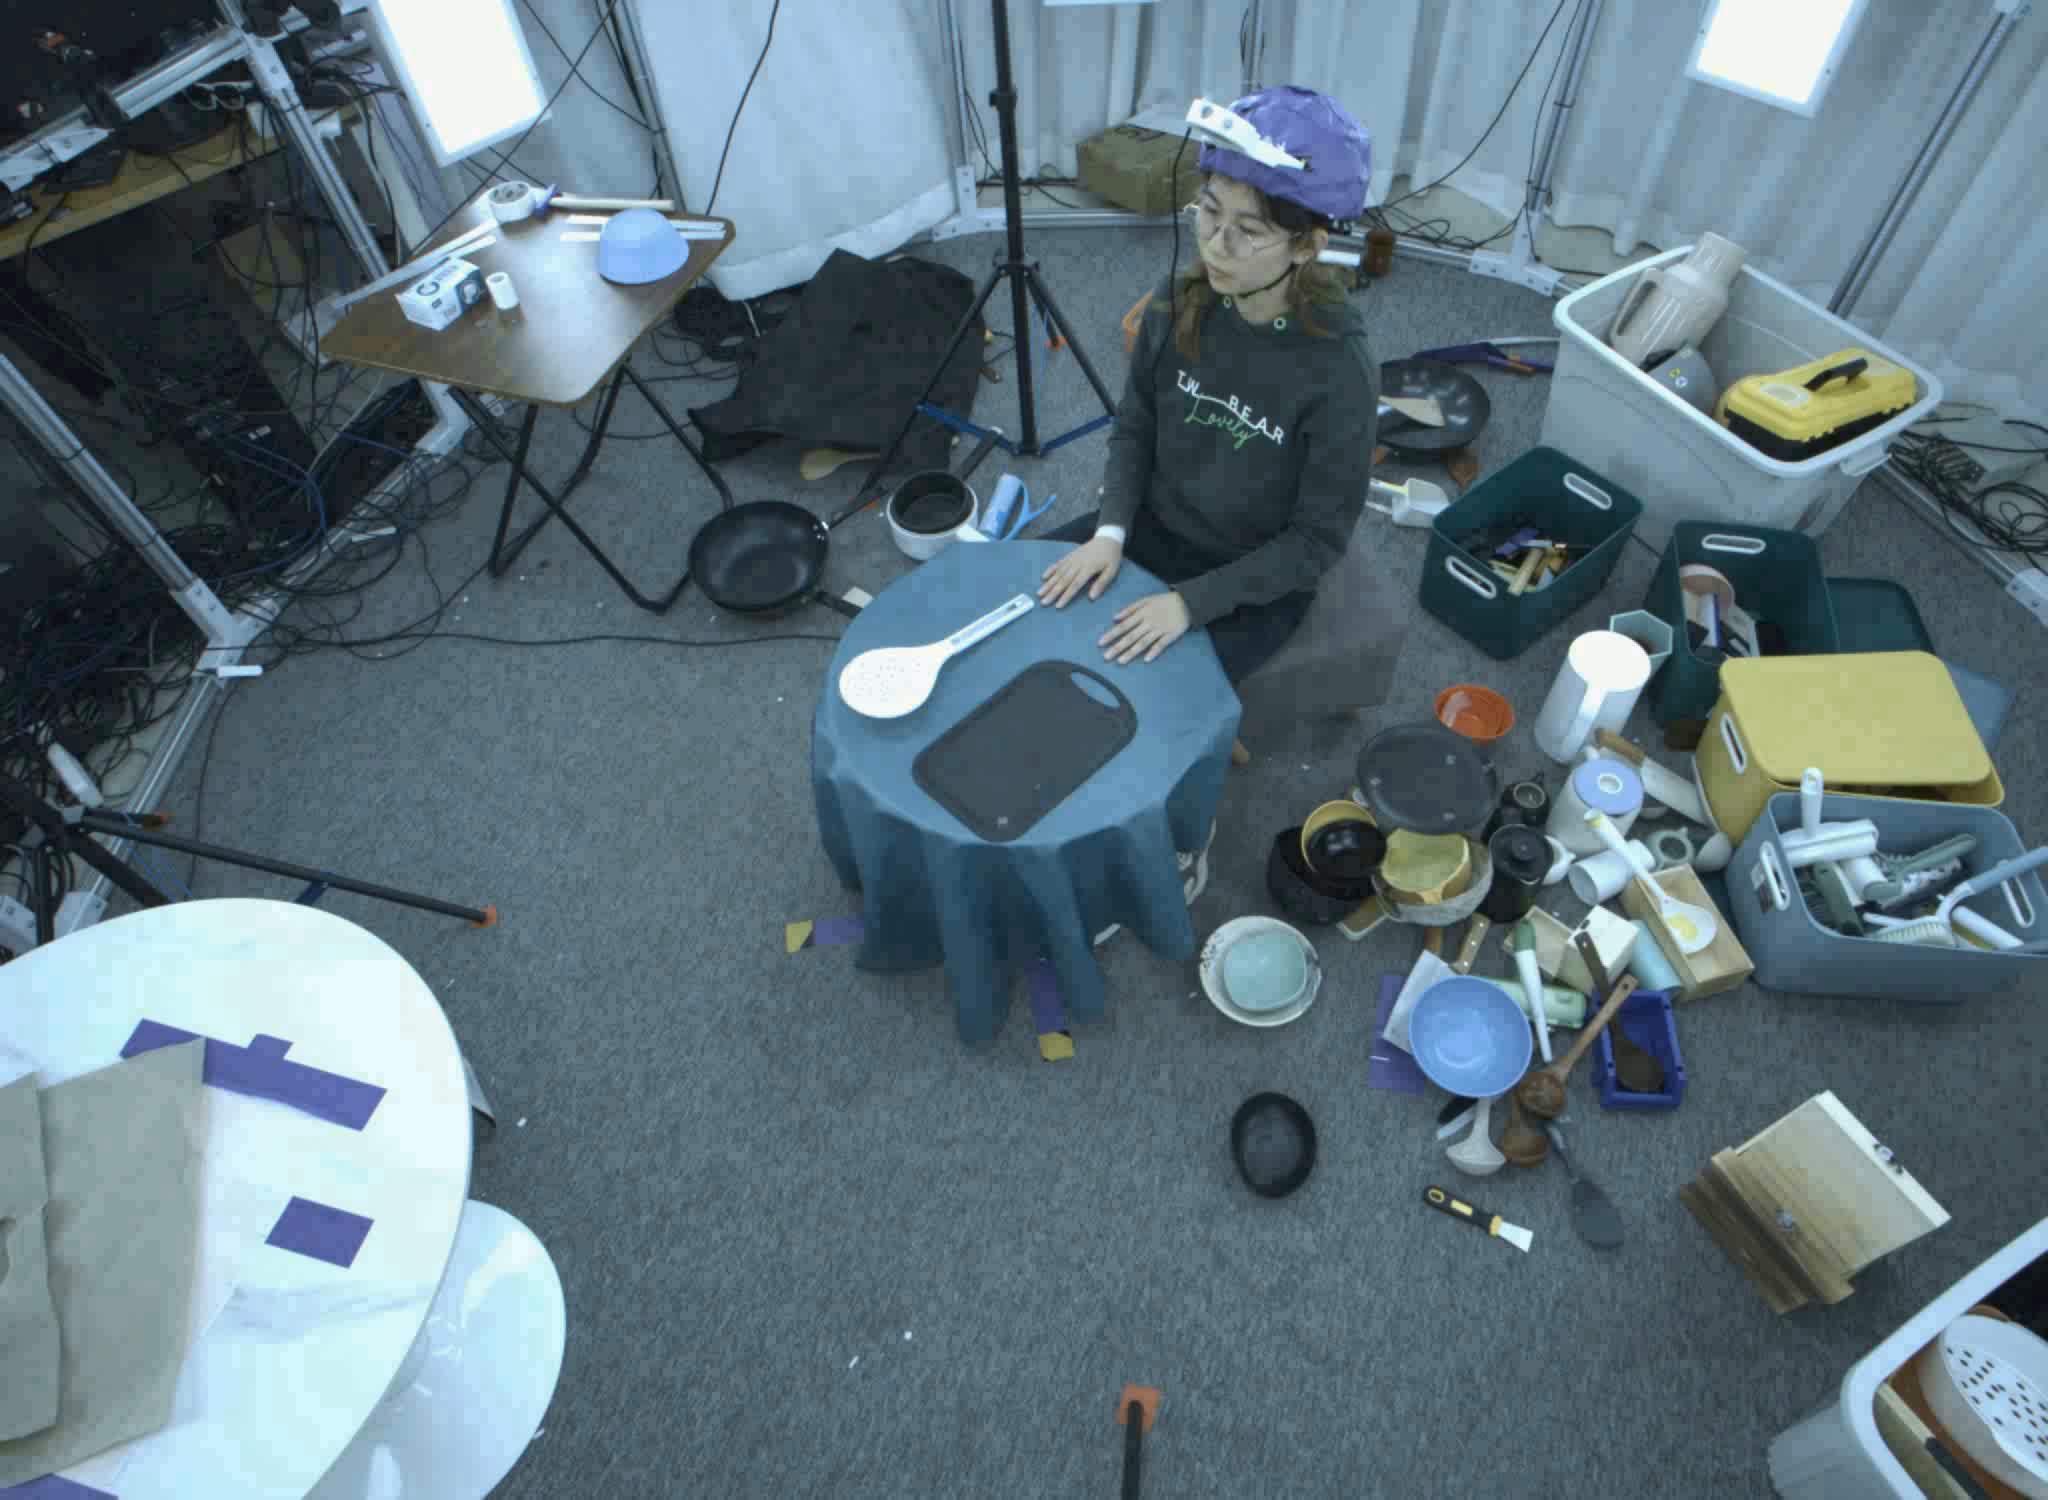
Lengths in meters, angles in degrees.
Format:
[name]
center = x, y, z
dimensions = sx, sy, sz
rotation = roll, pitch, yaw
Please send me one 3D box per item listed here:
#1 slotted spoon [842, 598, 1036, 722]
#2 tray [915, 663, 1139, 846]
[slotted spoon]
center = -0.121, -0.146, 1.876
dimensions = 0.352, 0.046, 0.133
rotation = -36, 63, -22
[tray]
center = 0.011, -0.006, 1.798
dimensions = 0.328, 0.010, 0.207
rotation = -40, 63, -23
